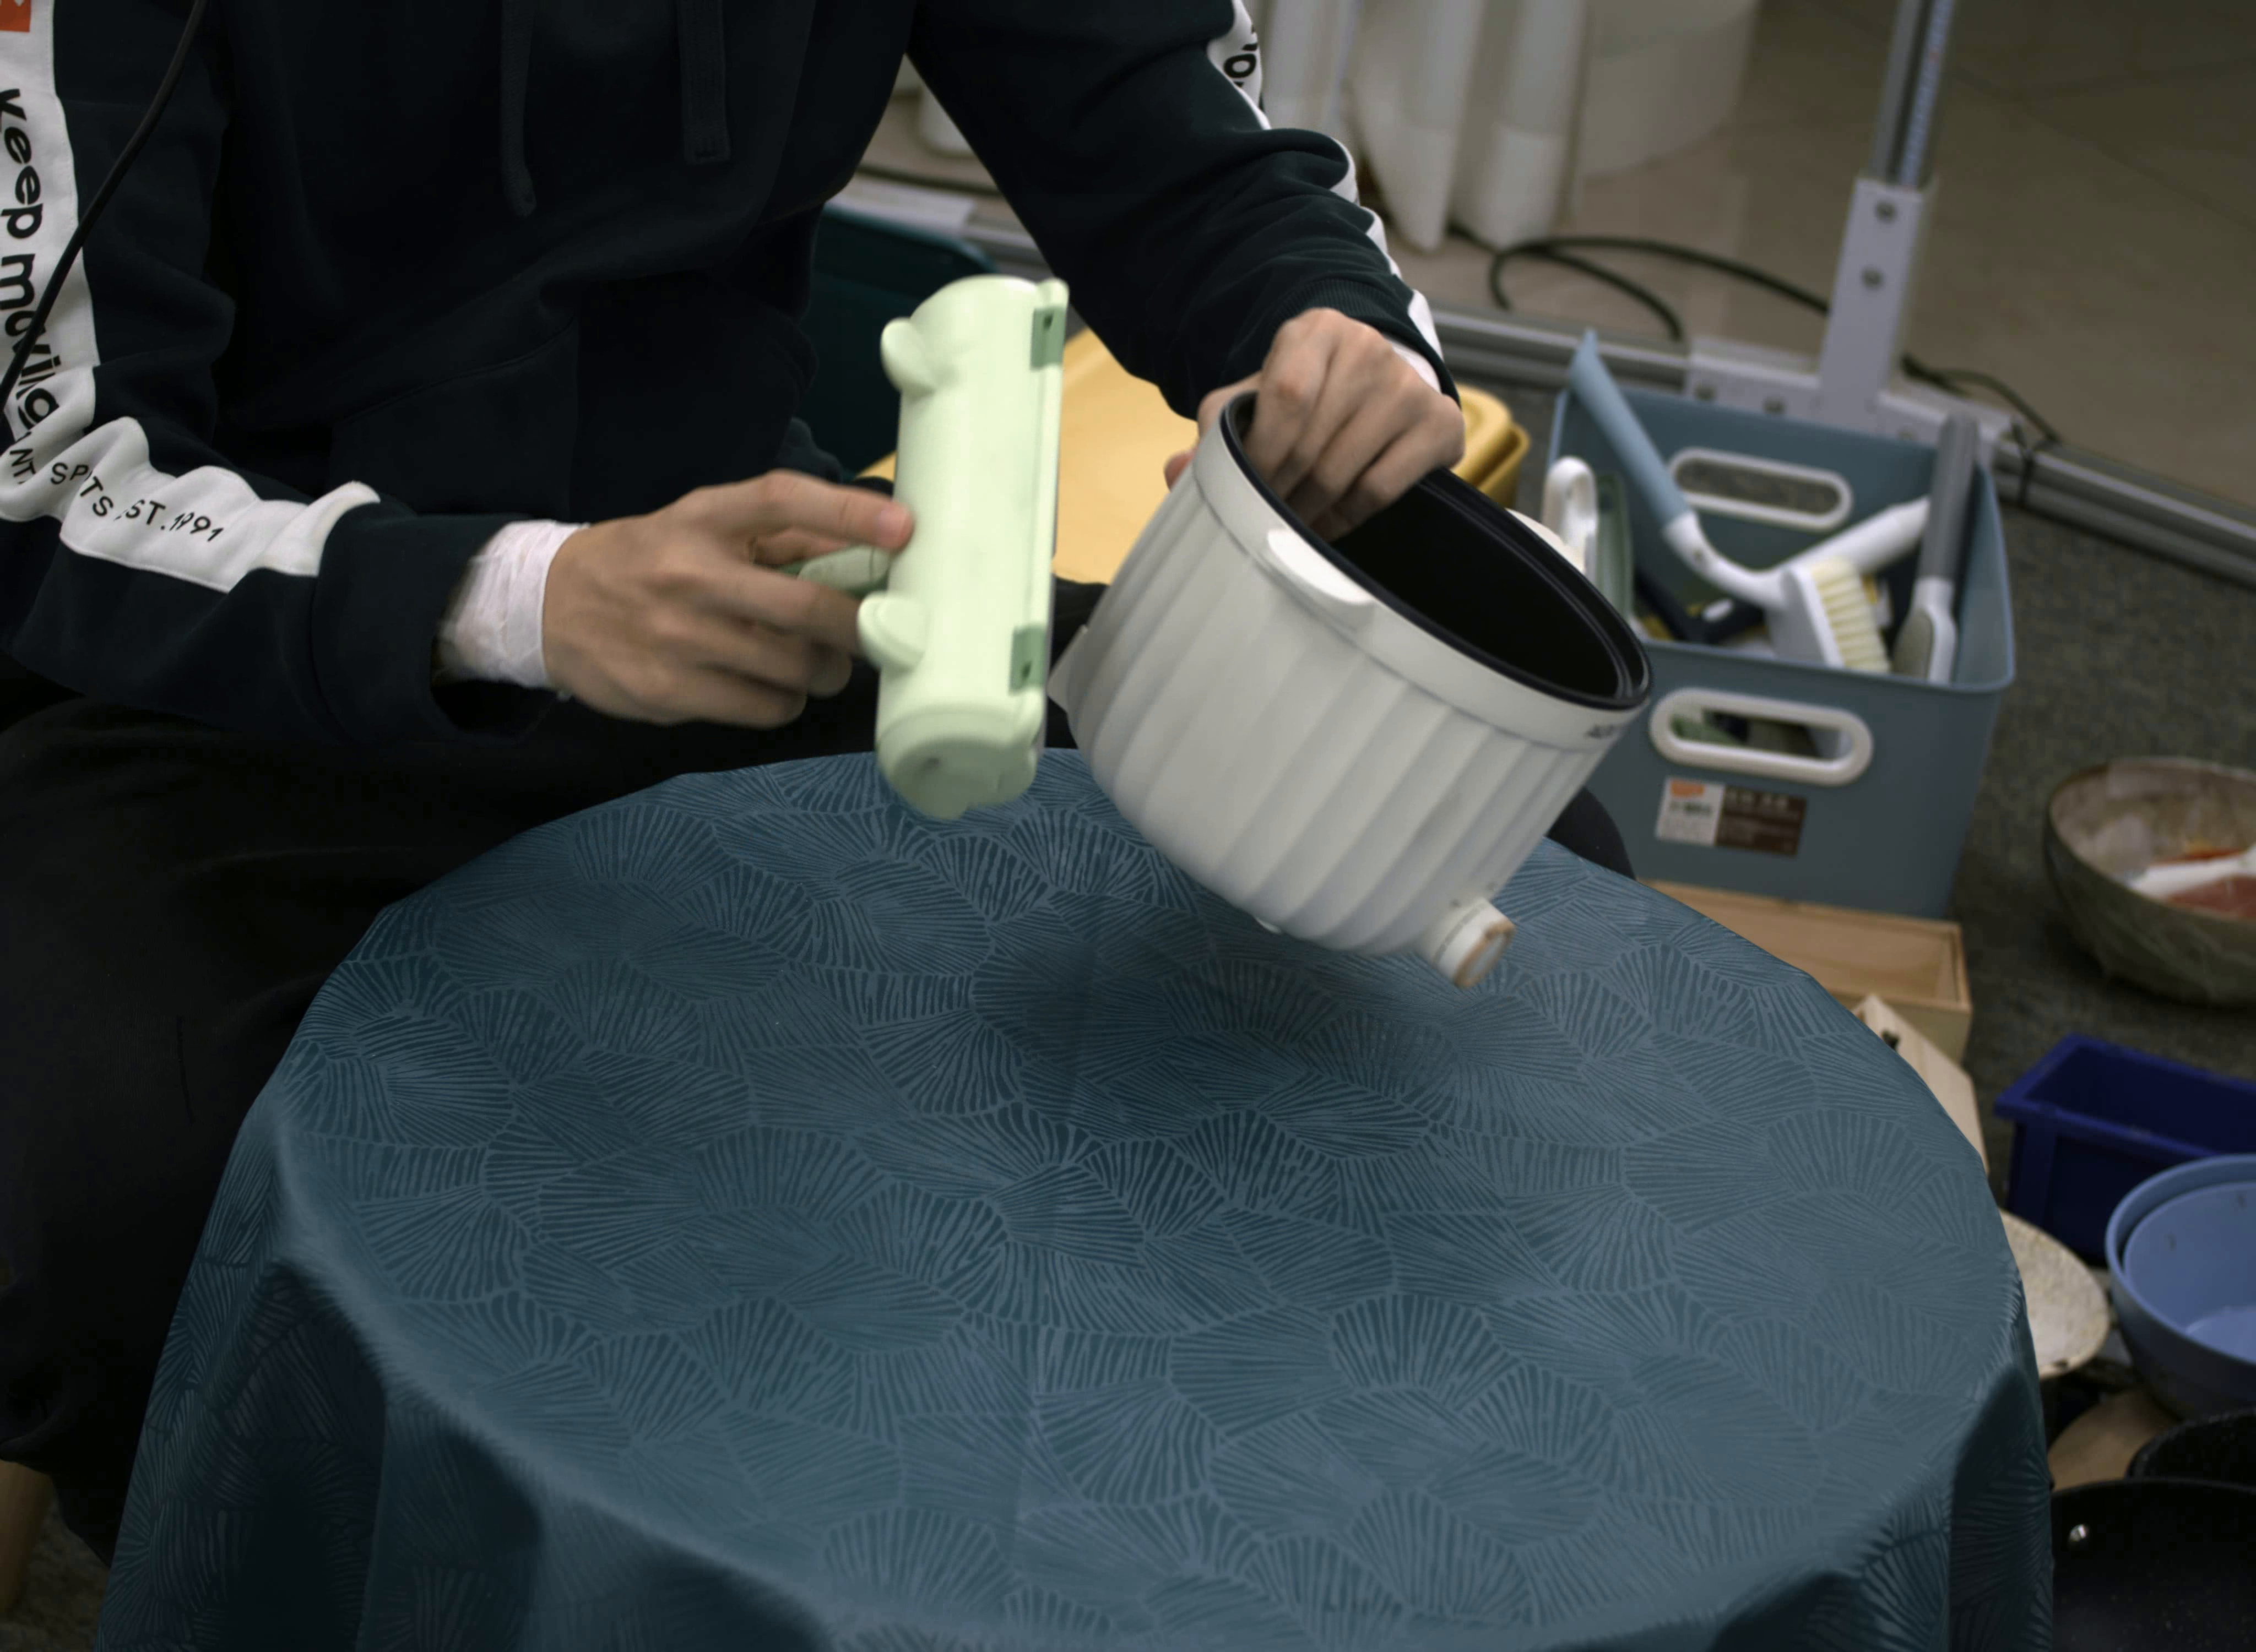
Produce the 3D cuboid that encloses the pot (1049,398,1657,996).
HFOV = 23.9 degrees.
[{"bbox_3d":[0.080,-0.041,1.884,0.191,0.142,0.239,37,21,19],"label":"pot"}]

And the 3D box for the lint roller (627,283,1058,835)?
[{"bbox_3d":[-0.107,-0.084,1.806,0.183,0.081,0.200,-14,53,24],"label":"lint roller"}]
